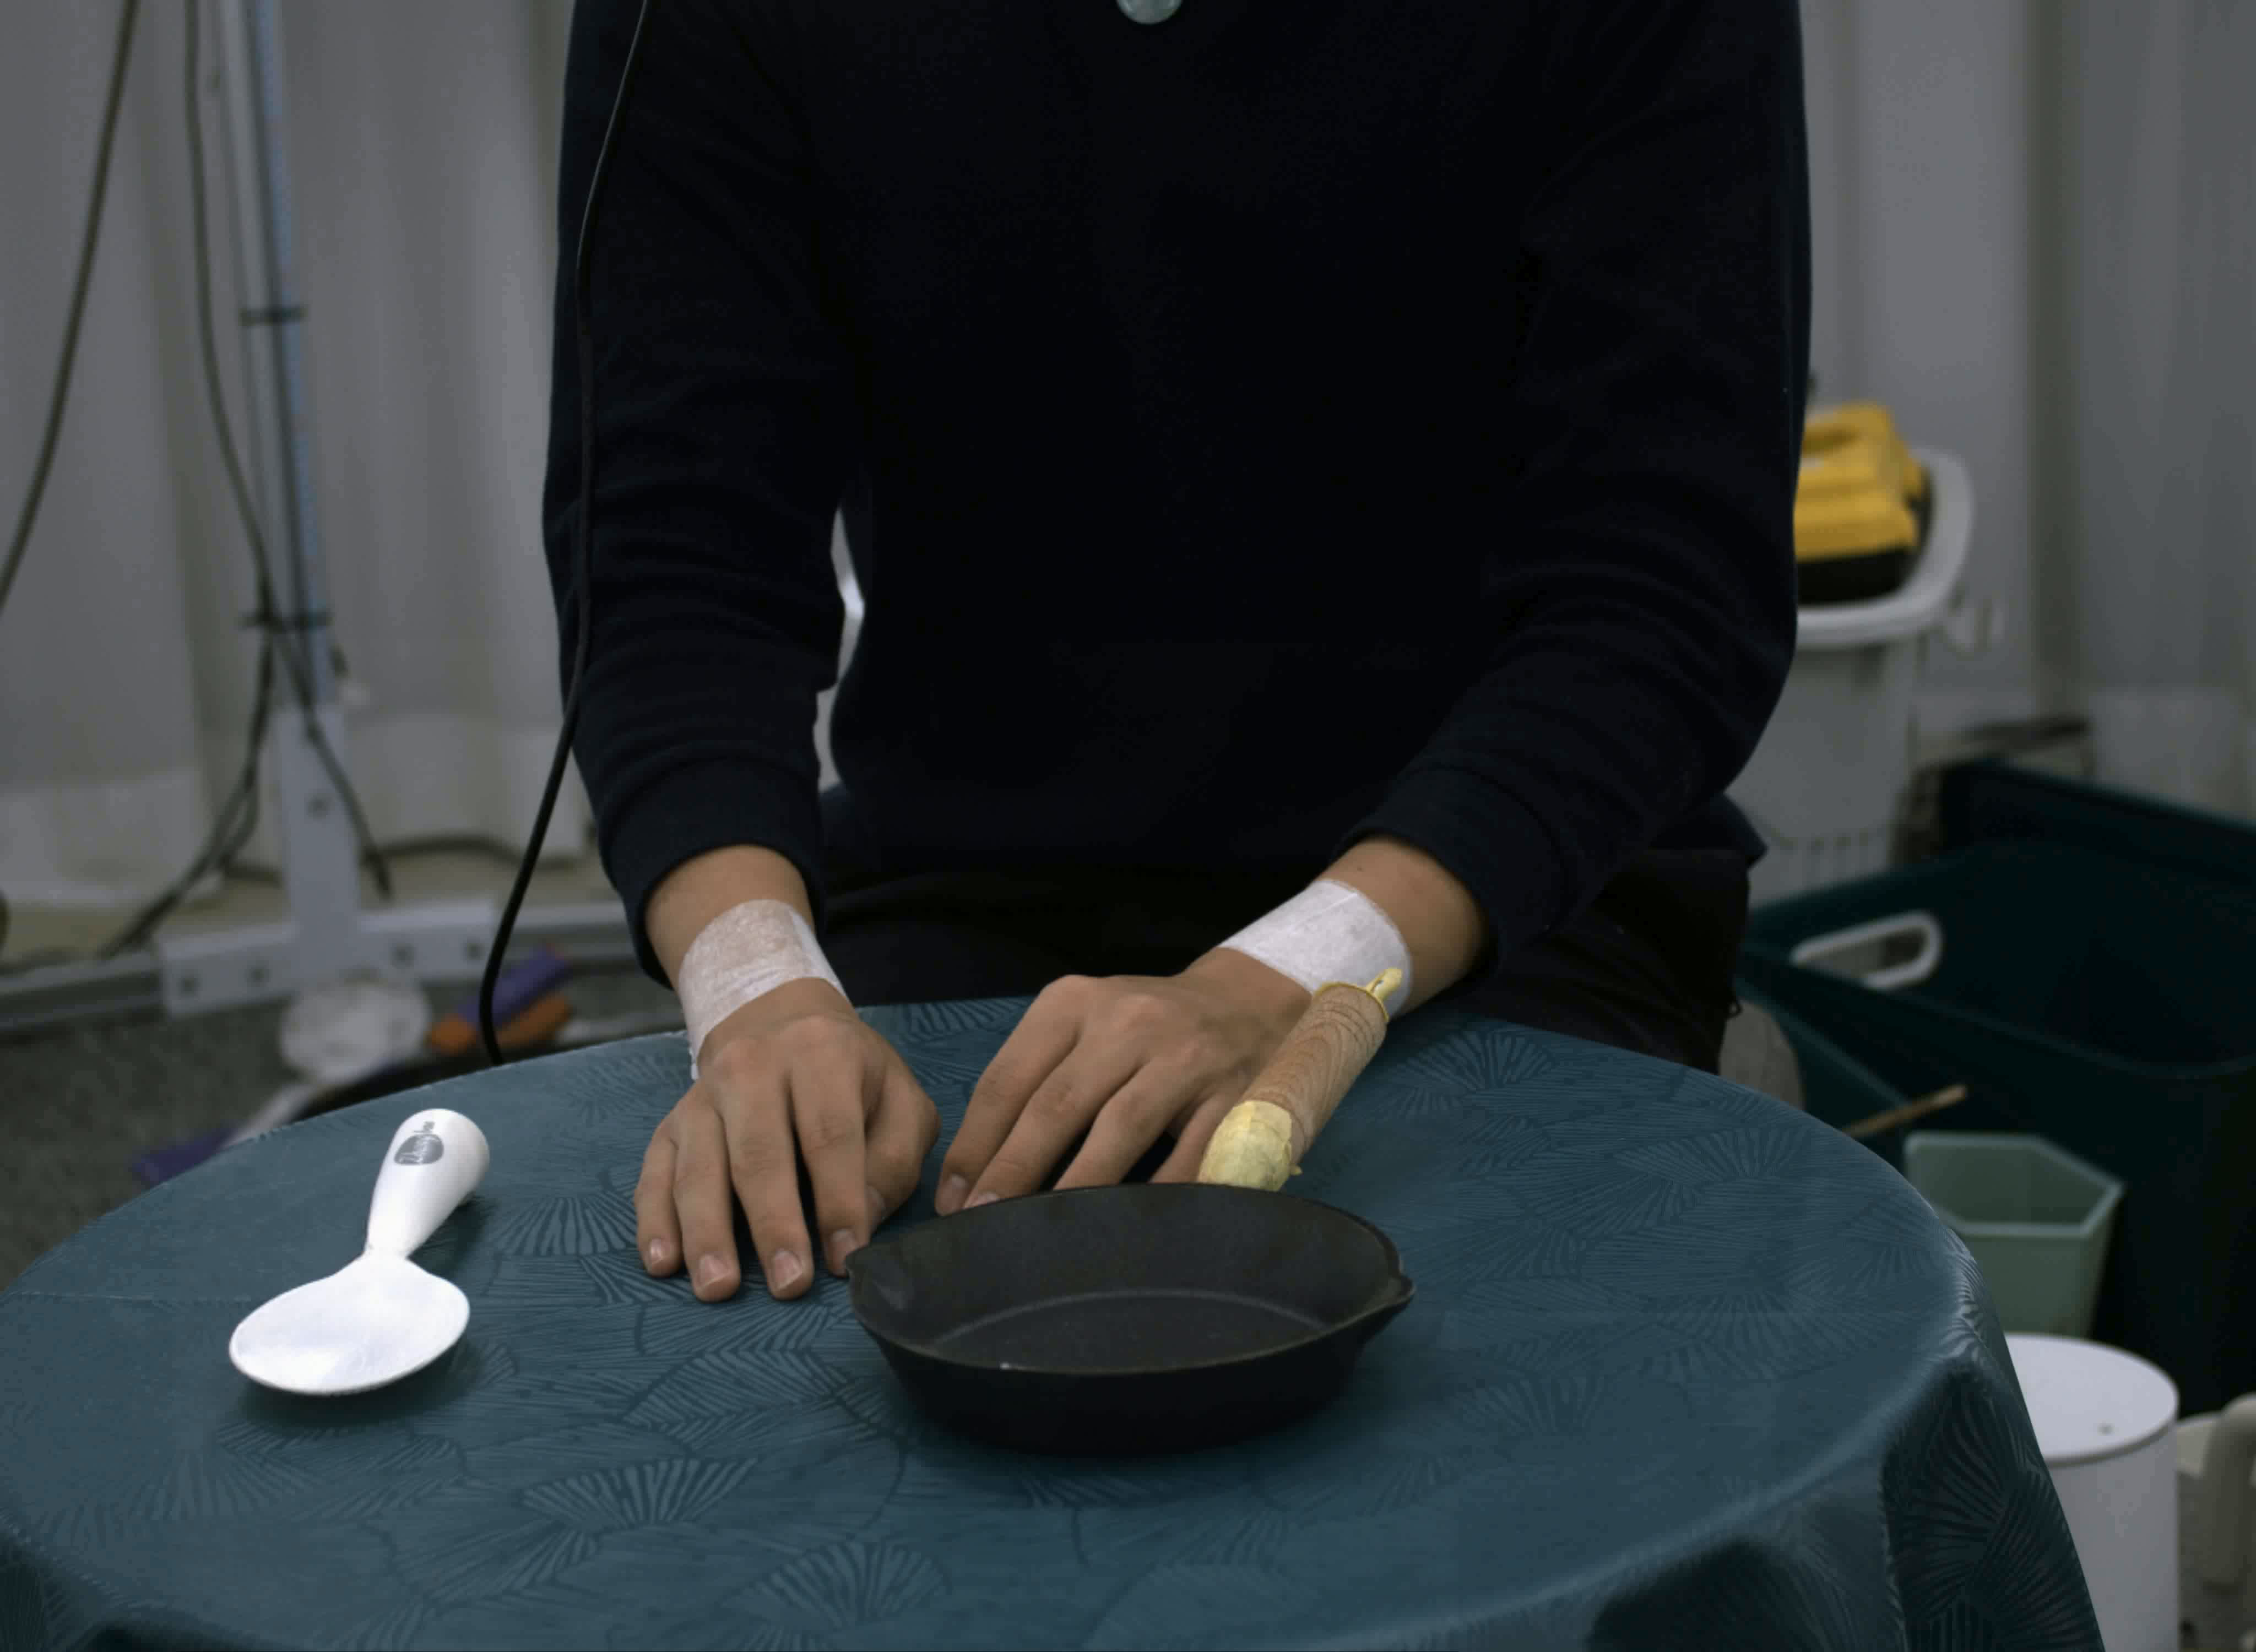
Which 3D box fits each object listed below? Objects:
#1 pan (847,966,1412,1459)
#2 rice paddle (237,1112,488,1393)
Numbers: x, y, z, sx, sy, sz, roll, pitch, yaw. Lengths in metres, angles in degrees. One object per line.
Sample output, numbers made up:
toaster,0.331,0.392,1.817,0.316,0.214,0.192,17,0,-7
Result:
pan,0.029,0.111,1.625,0.169,0.049,0.325,2,17,21
rice paddle,-0.222,0.131,1.645,0.068,0.029,0.206,-4,14,3
